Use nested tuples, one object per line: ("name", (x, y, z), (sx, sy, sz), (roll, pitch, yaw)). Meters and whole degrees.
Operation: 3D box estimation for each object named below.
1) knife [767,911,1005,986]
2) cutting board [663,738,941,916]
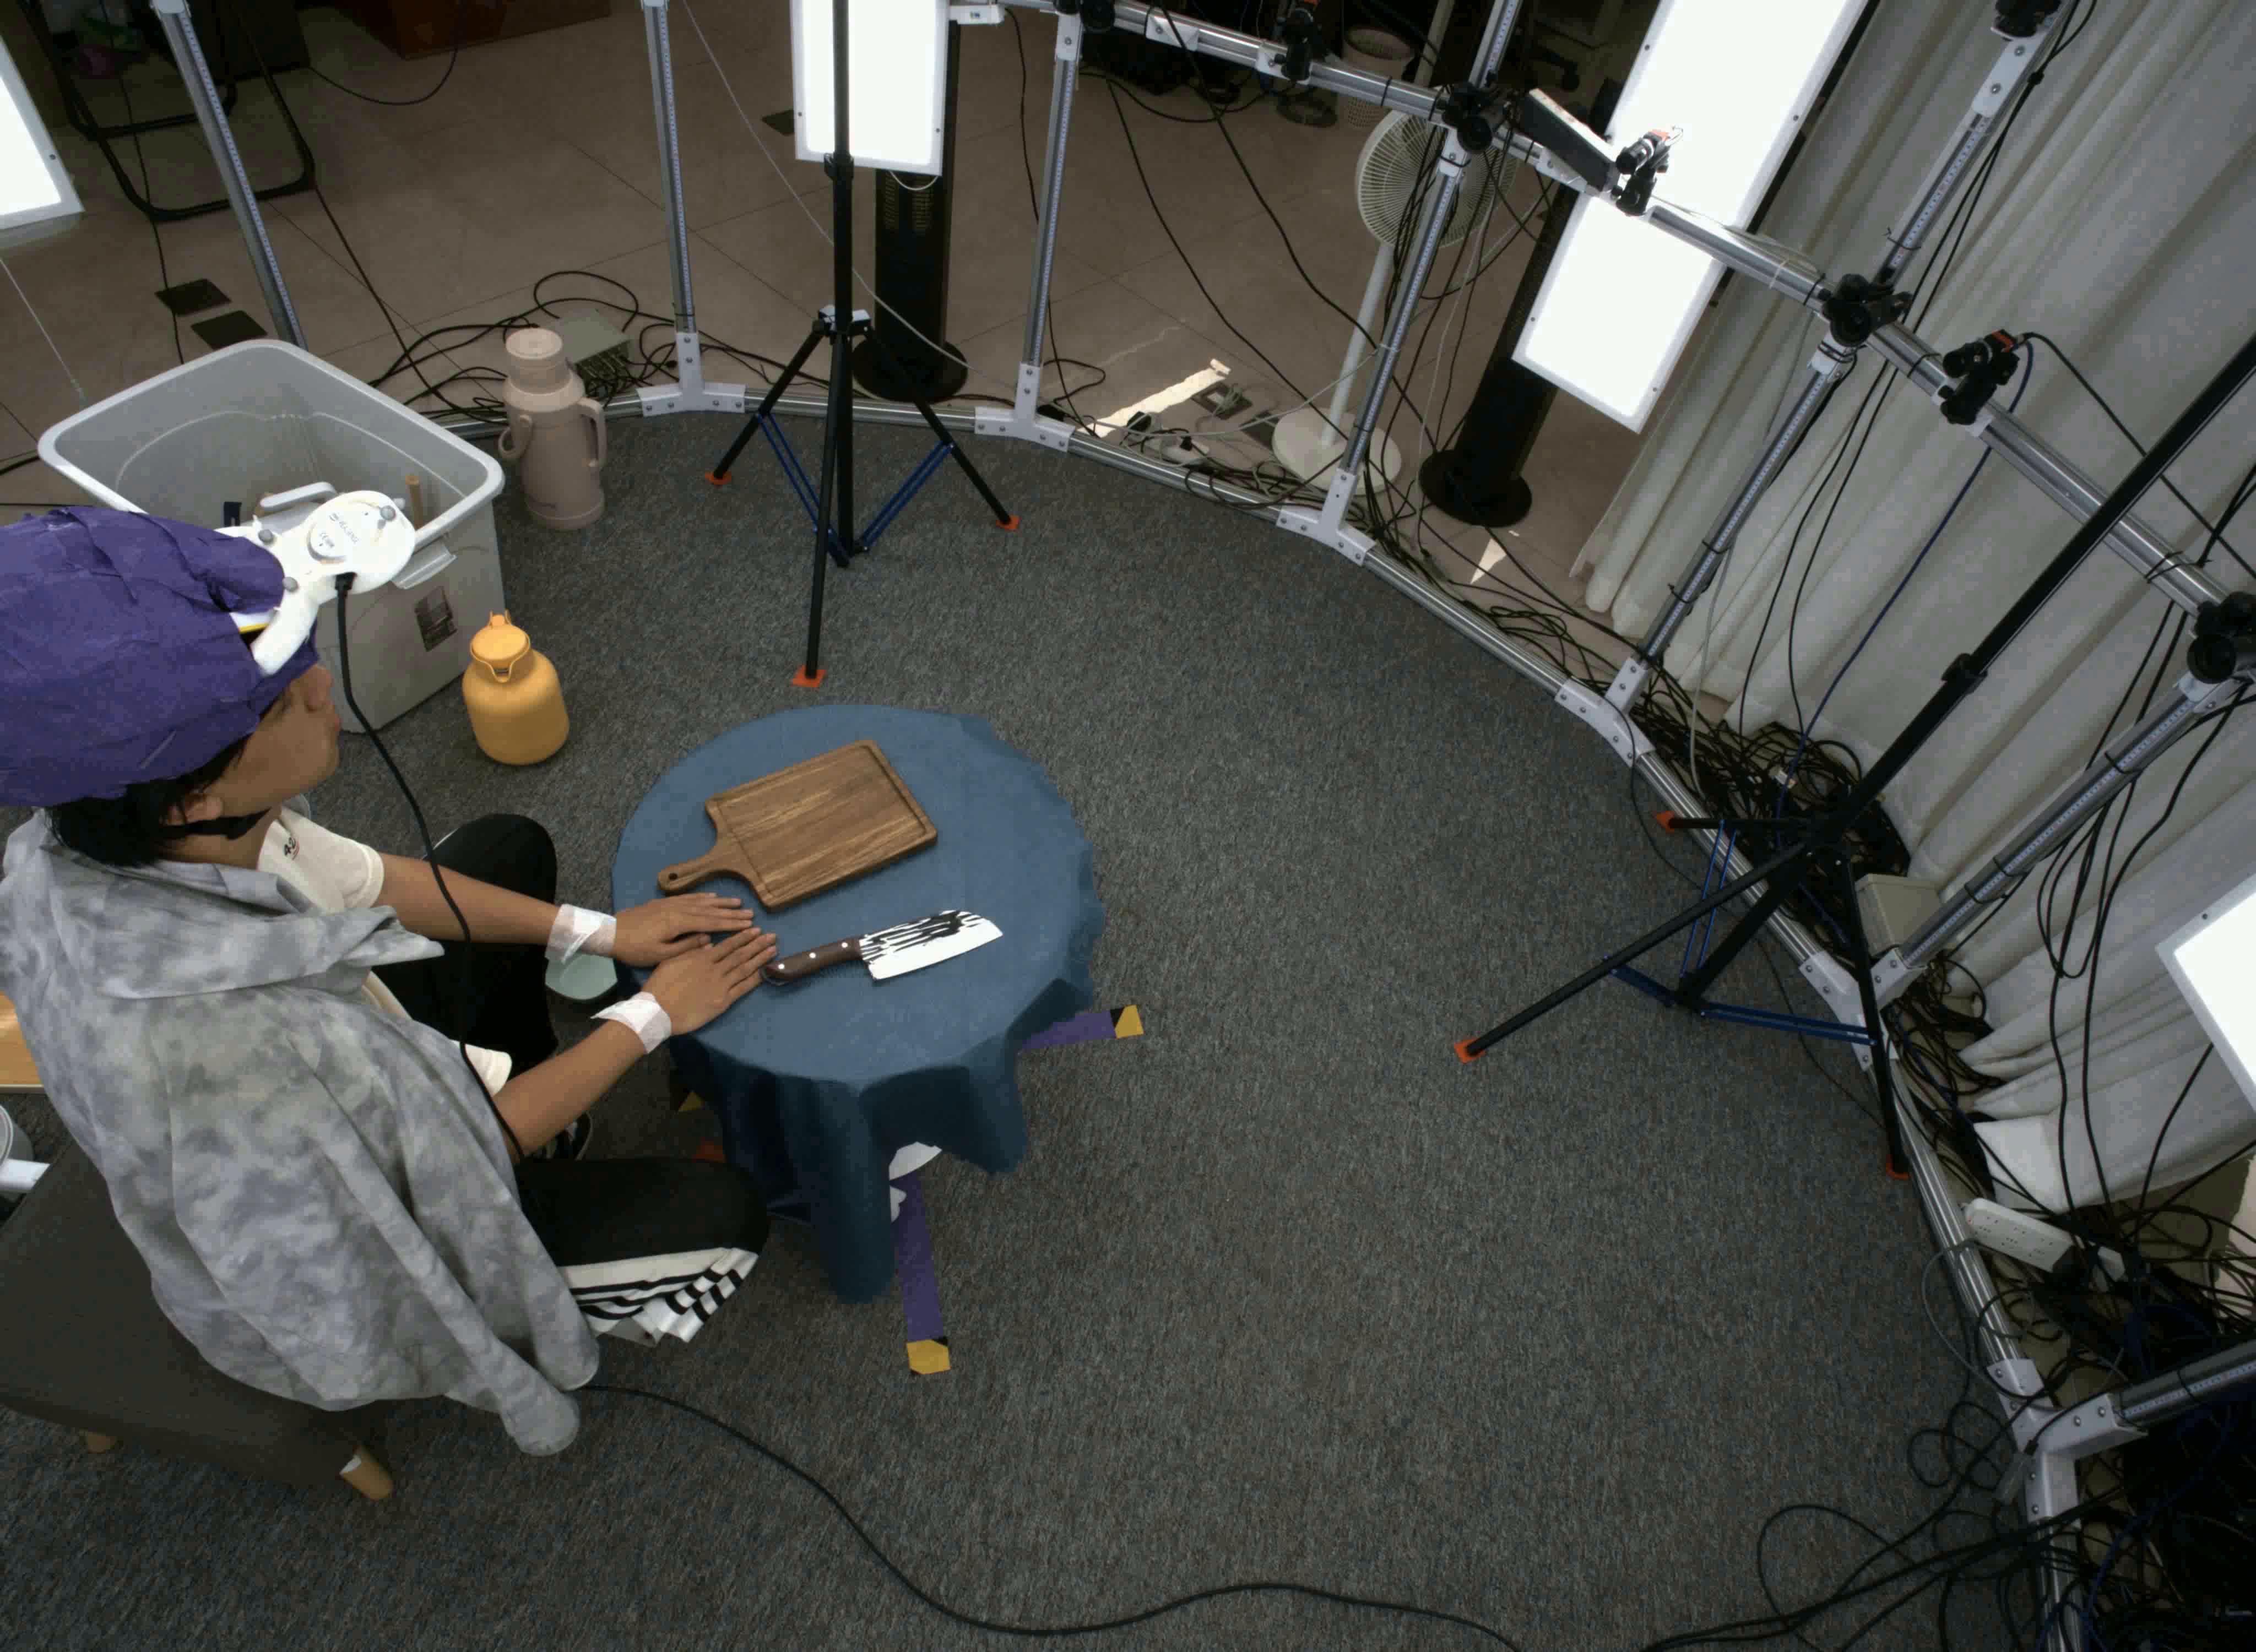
("knife", (-0.298, 0.158, 1.628), (0.301, 0.024, 0.066), (-15, 61, -27))
("cutting board", (-0.442, 0.012, 1.699), (0.353, 0.023, 0.196), (-25, 63, -28))
